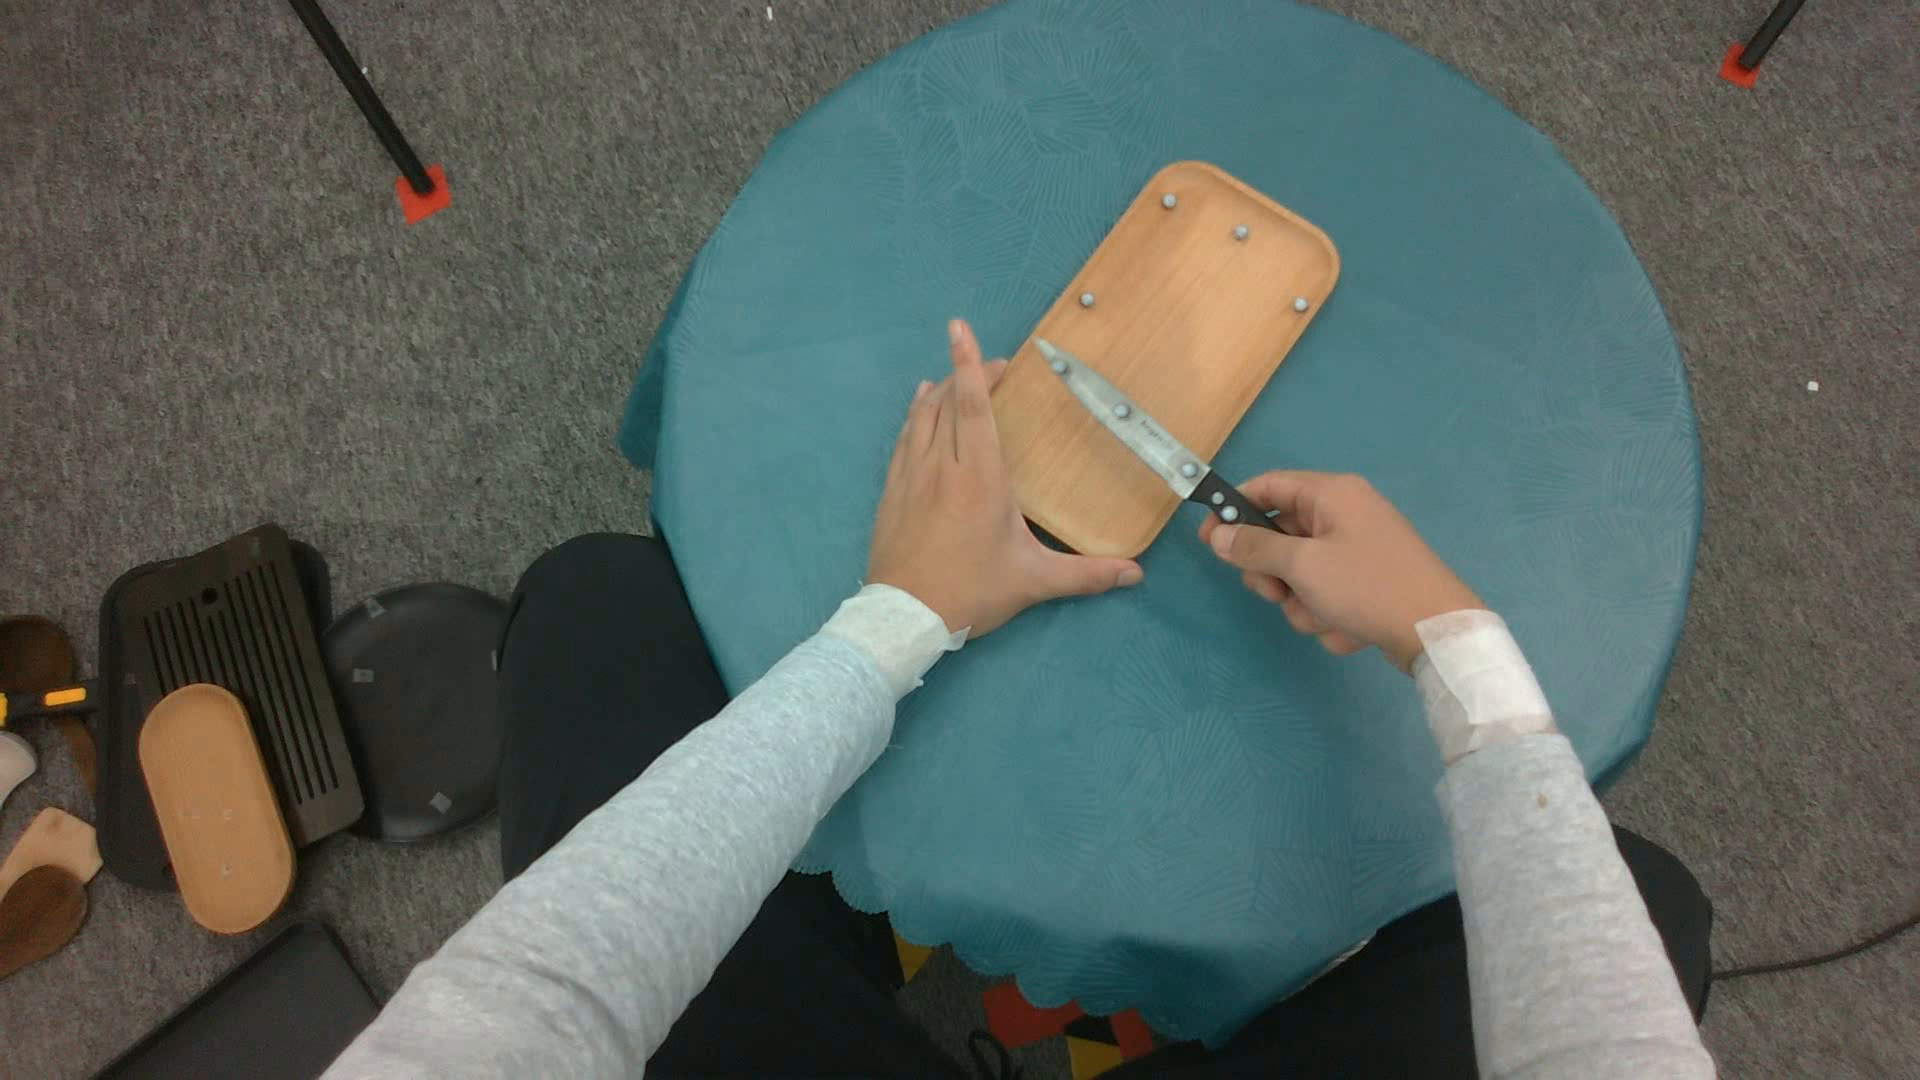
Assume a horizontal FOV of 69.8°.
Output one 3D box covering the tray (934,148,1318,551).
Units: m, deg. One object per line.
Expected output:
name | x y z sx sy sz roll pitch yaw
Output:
tray | 0.099 -0.114 0.799 0.130 0.023 0.251 34 75 12

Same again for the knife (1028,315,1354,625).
knife | 0.117 -0.045 0.721 0.238 0.016 0.024 46 106 19
